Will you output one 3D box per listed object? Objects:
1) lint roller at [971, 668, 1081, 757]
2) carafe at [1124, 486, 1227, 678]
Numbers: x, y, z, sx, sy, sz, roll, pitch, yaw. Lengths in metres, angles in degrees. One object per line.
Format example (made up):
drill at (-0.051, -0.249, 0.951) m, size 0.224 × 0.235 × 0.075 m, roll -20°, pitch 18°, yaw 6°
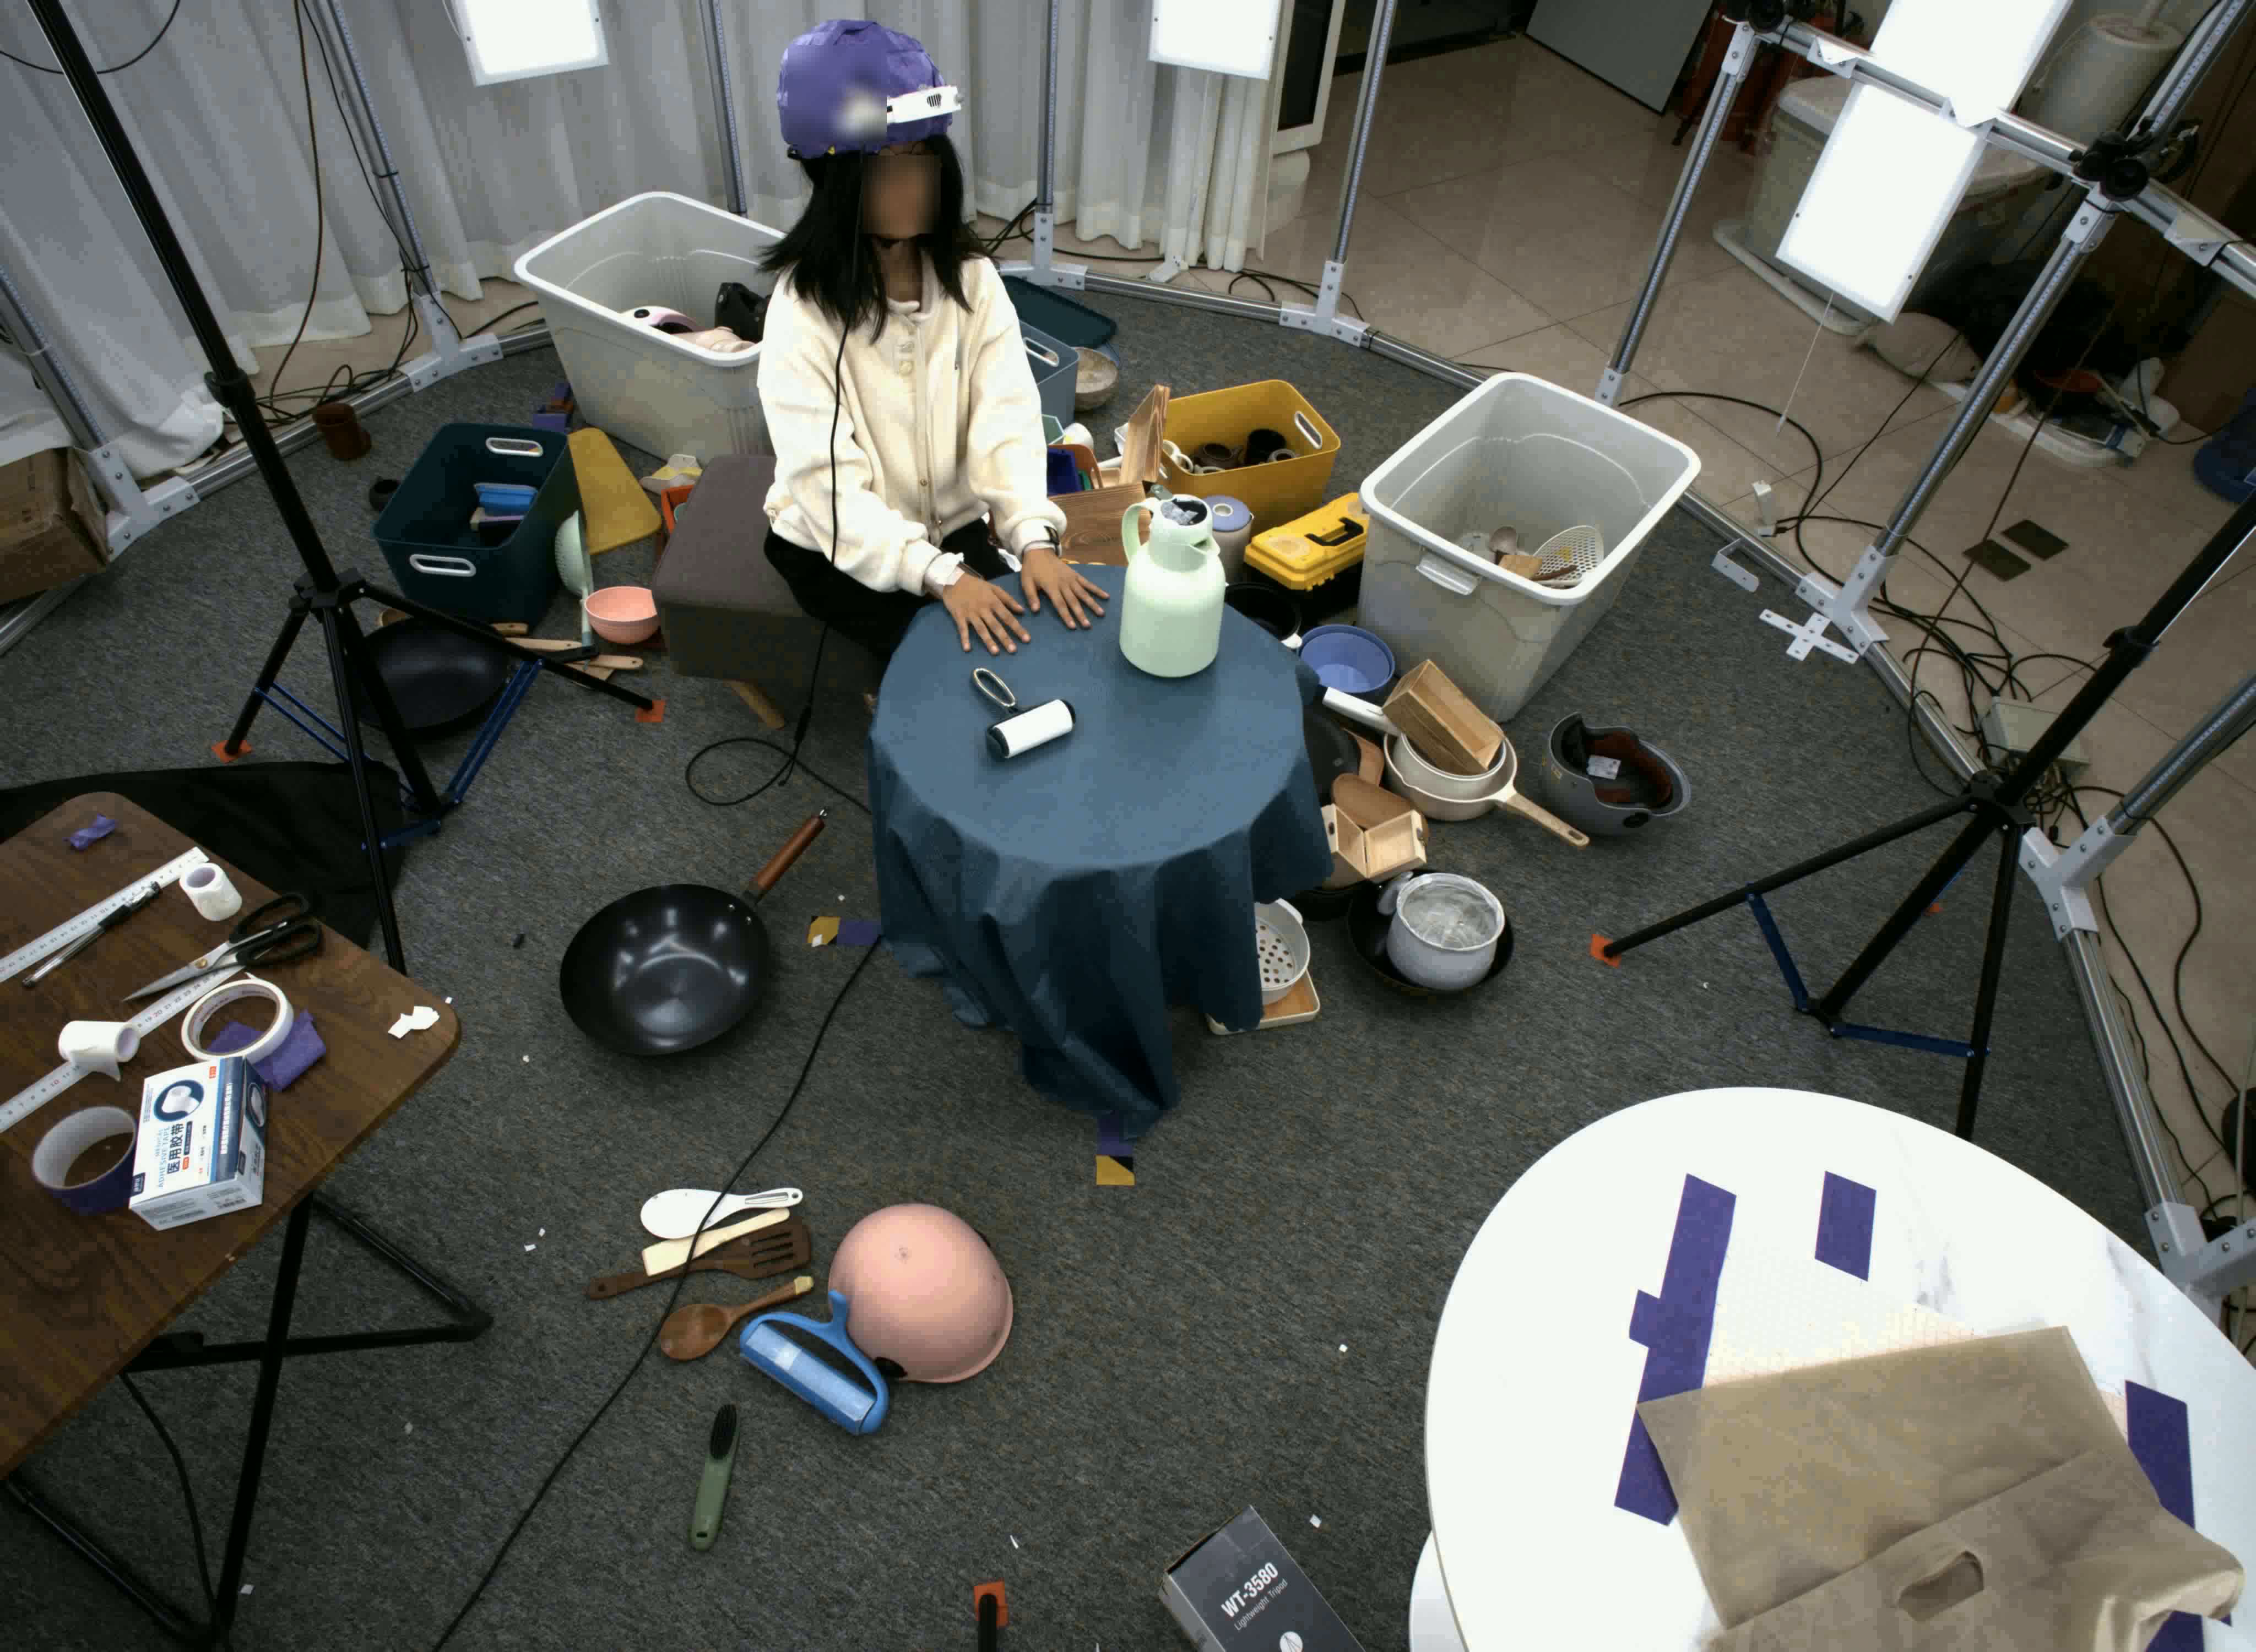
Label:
lint roller at (-0.166, -0.178, 1.782) m, size 0.135 × 0.047 × 0.184 m, roll -24°, pitch 55°, yaw -23°
carafe at (0.060, -0.350, 1.817) m, size 0.145 × 0.250 × 0.190 m, roll -29°, pitch 53°, yaw -23°
